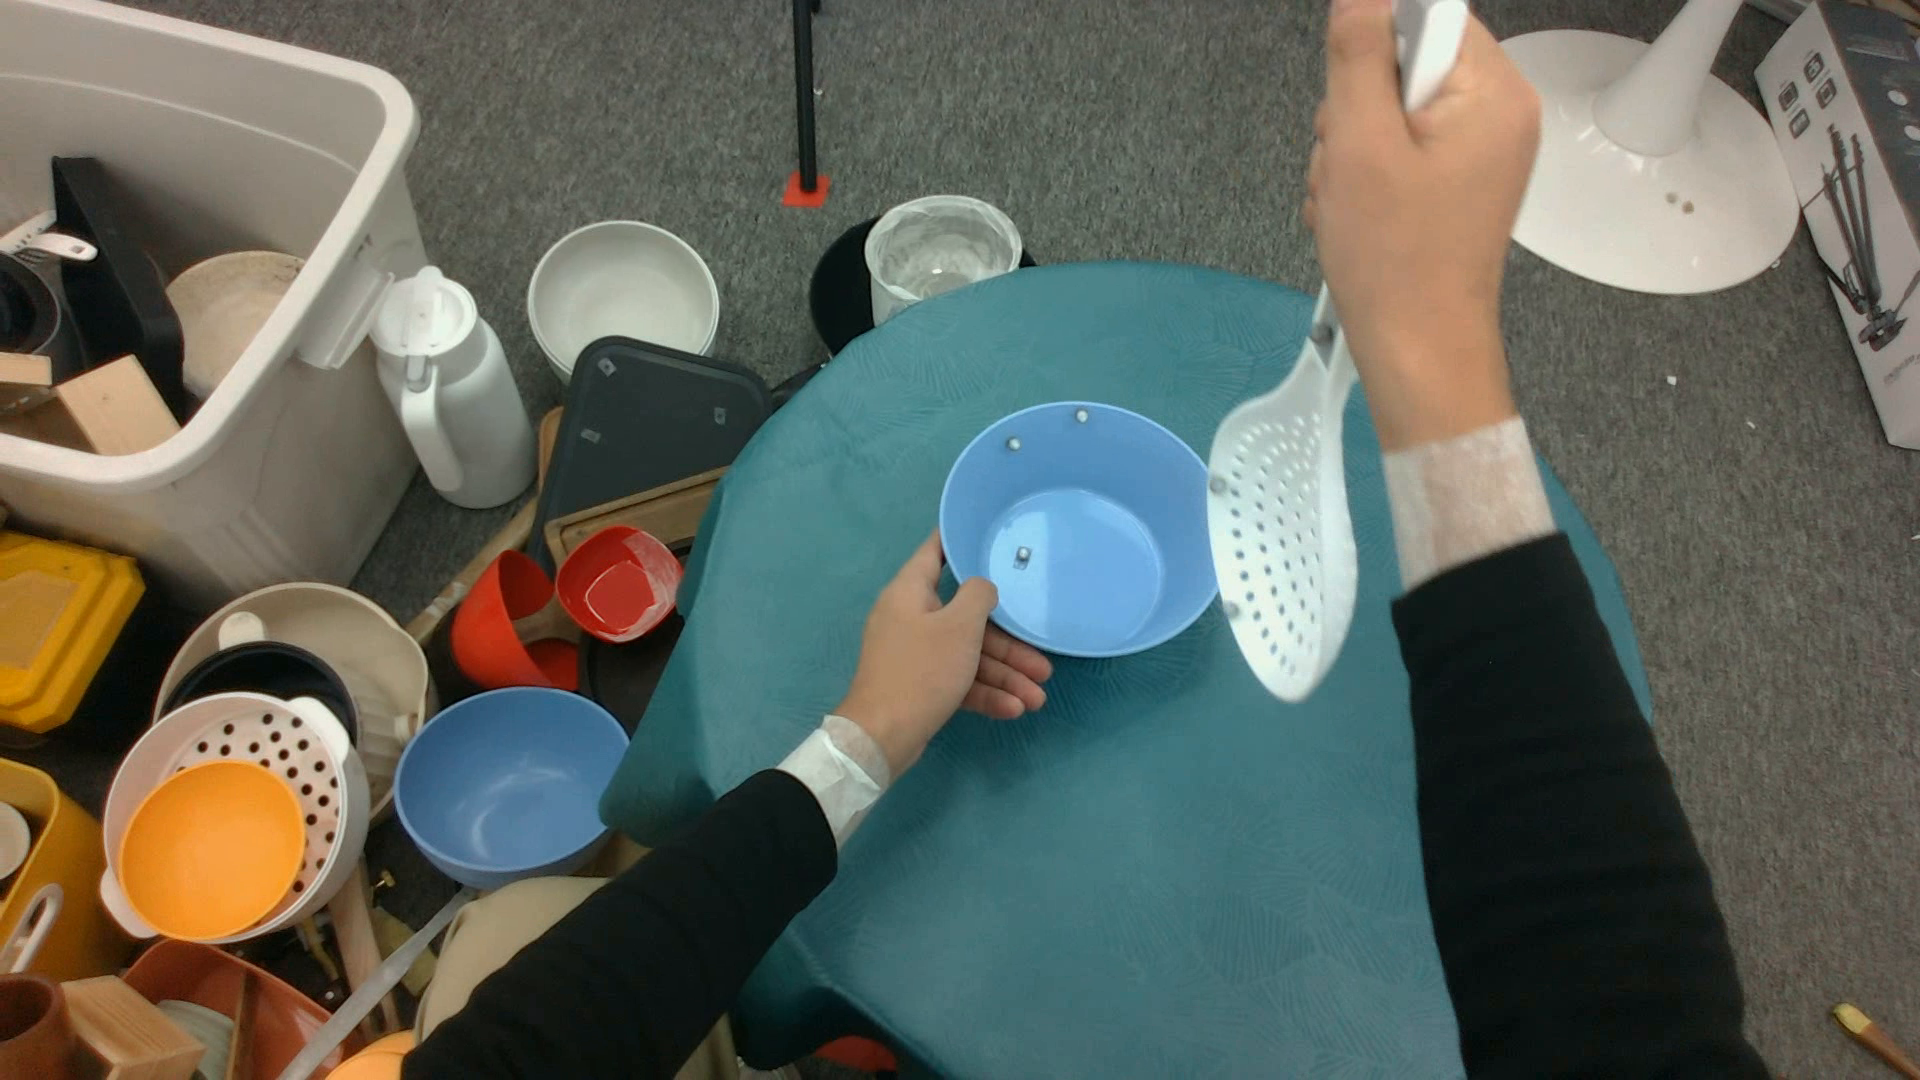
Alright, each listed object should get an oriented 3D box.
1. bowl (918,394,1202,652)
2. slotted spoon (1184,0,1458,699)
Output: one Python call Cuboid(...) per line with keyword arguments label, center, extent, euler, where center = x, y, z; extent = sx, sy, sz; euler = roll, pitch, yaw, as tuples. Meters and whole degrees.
Cuboid(label="bowl", center=(0.060, 0.000, 0.849), extent=(0.176, 0.070, 0.177), euler=(2, 62, -4))
Cuboid(label="slotted spoon", center=(0.144, -0.061, 0.577), extent=(0.046, 0.348, 0.136), euler=(-13, 52, -7))
